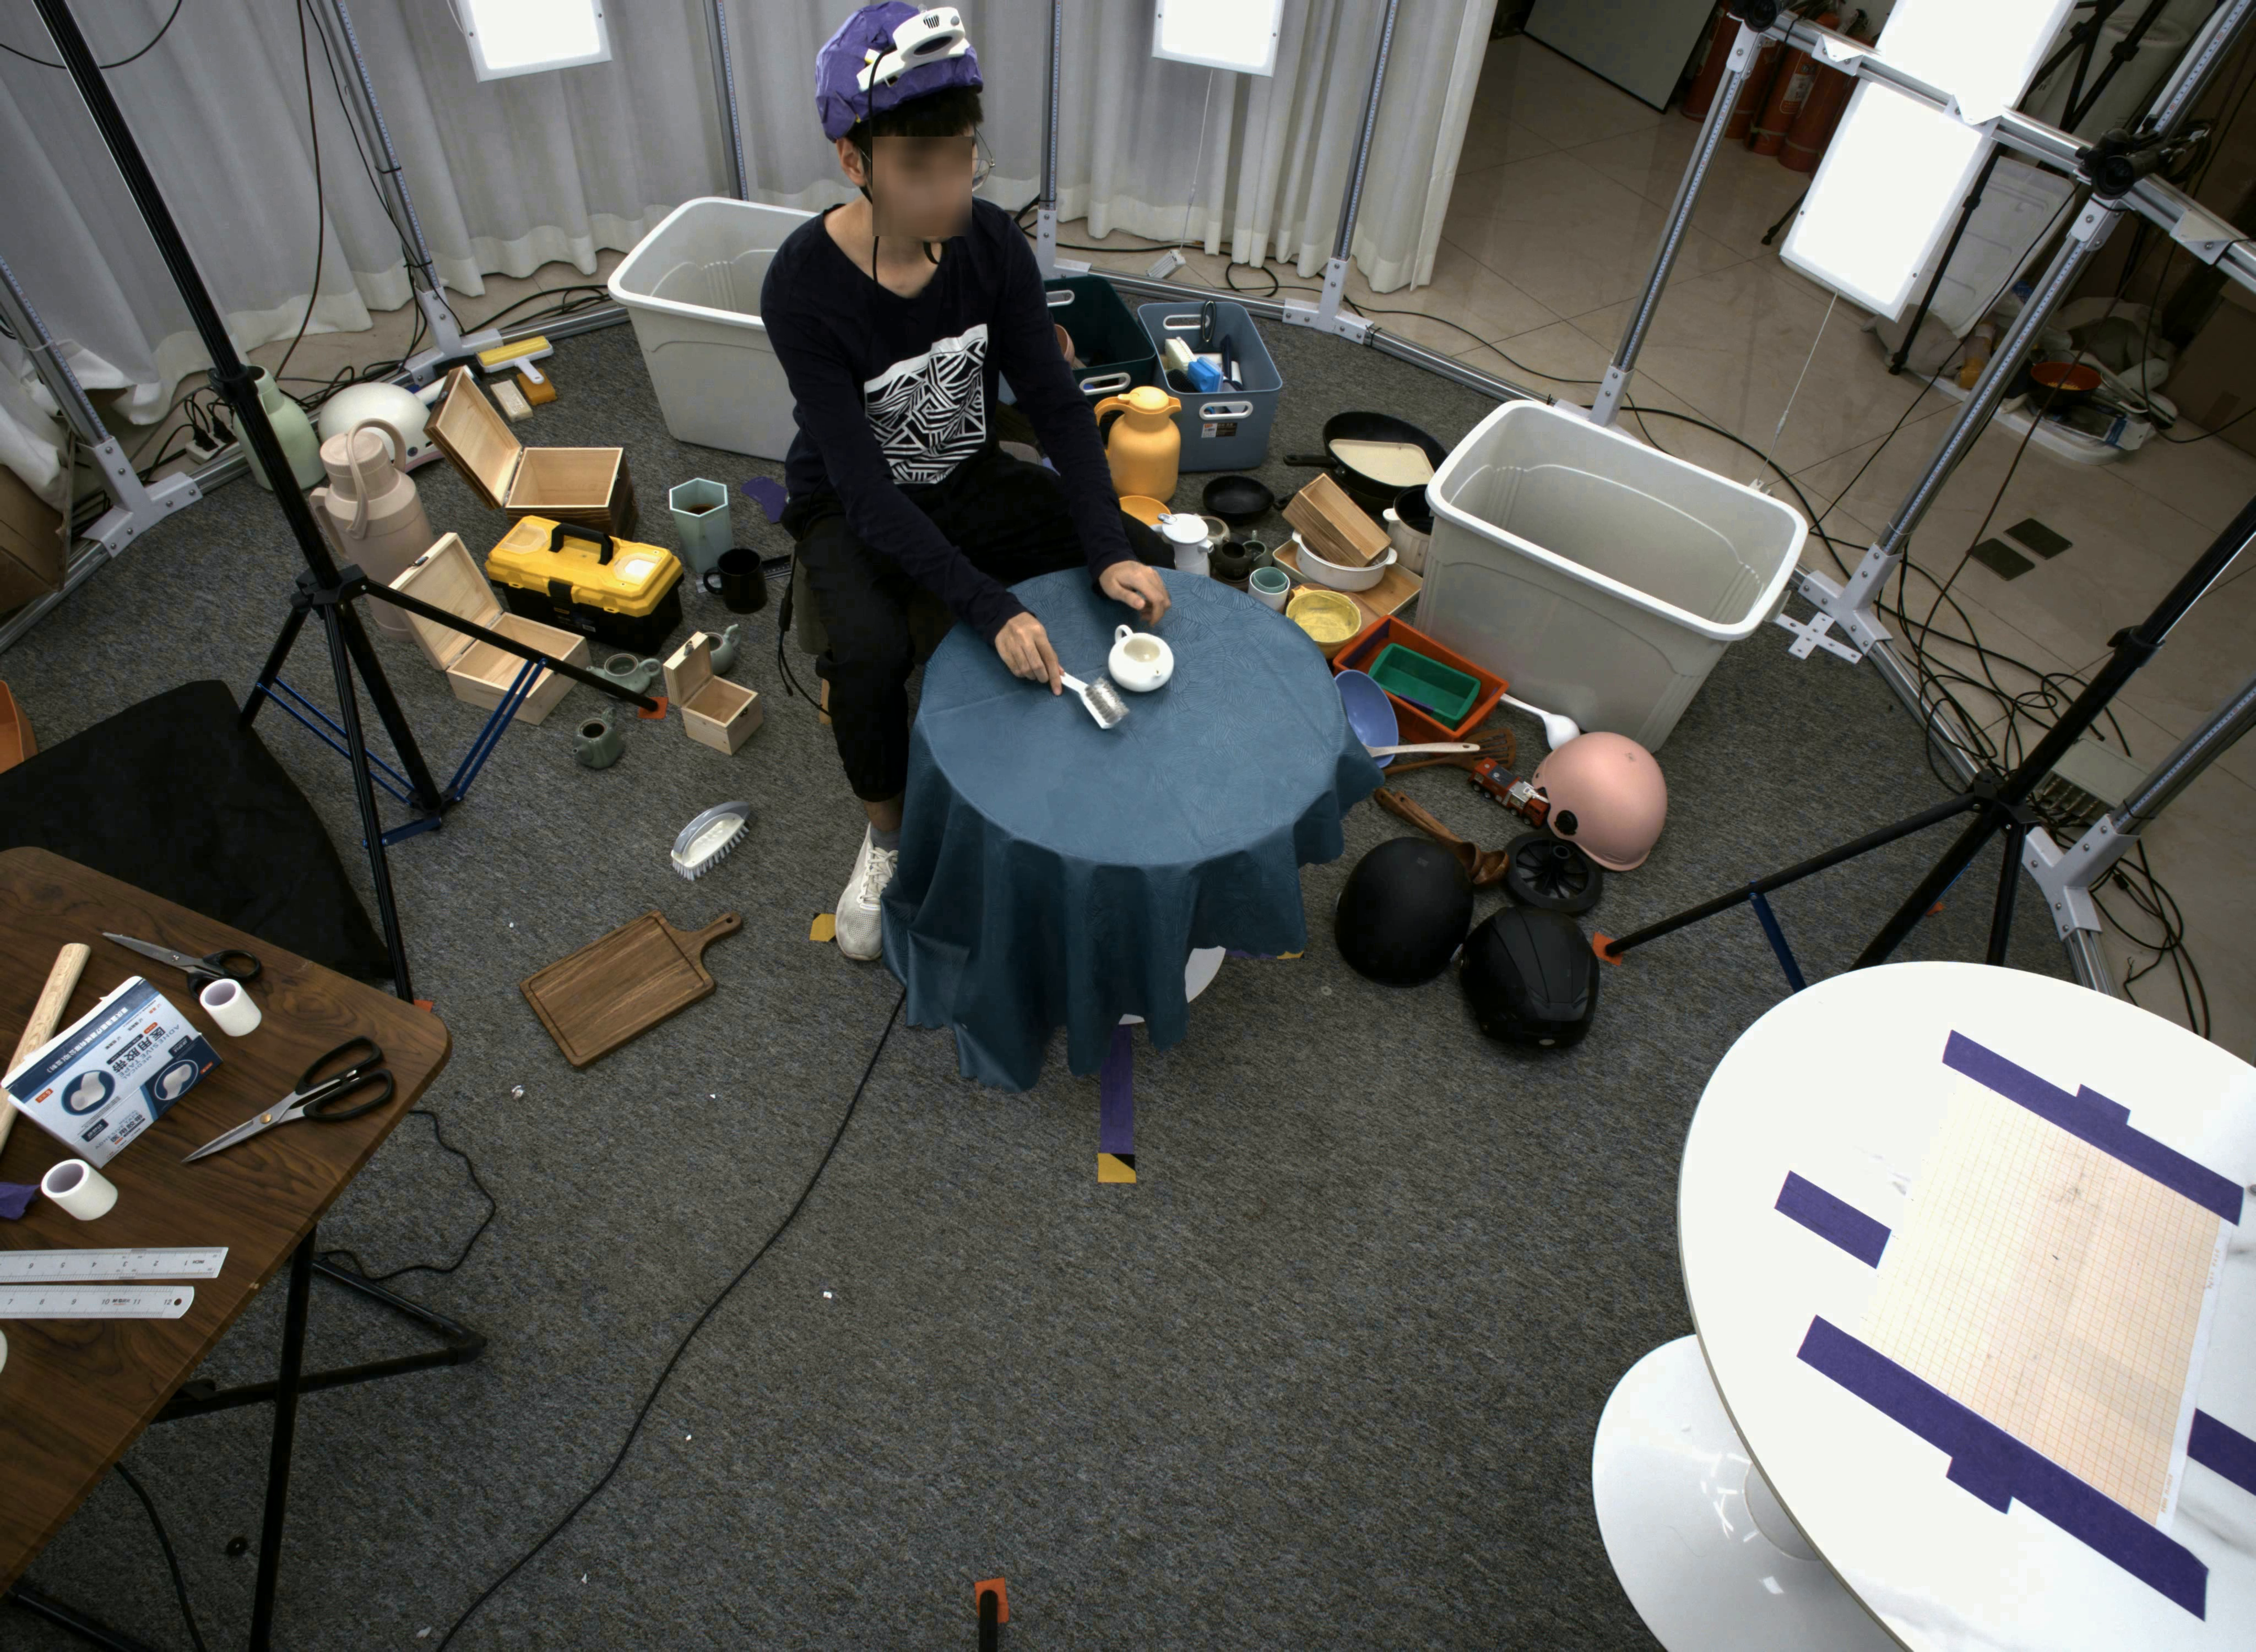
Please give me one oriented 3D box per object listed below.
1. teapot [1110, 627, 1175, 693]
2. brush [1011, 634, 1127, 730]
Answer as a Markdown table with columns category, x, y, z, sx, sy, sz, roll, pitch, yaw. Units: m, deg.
| category | x | y | z | sx | sy | sz | roll | pitch | yaw |
| --- | --- | --- | --- | --- | --- | --- | --- | --- | --- |
| teapot | 0.016 | -0.240 | 1.844 | 0.094 | 0.055 | 0.130 | -25 | 53 | -17 |
| brush | -0.088 | -0.221 | 1.823 | 0.034 | 0.049 | 0.248 | -22 | 52 | -34 |
